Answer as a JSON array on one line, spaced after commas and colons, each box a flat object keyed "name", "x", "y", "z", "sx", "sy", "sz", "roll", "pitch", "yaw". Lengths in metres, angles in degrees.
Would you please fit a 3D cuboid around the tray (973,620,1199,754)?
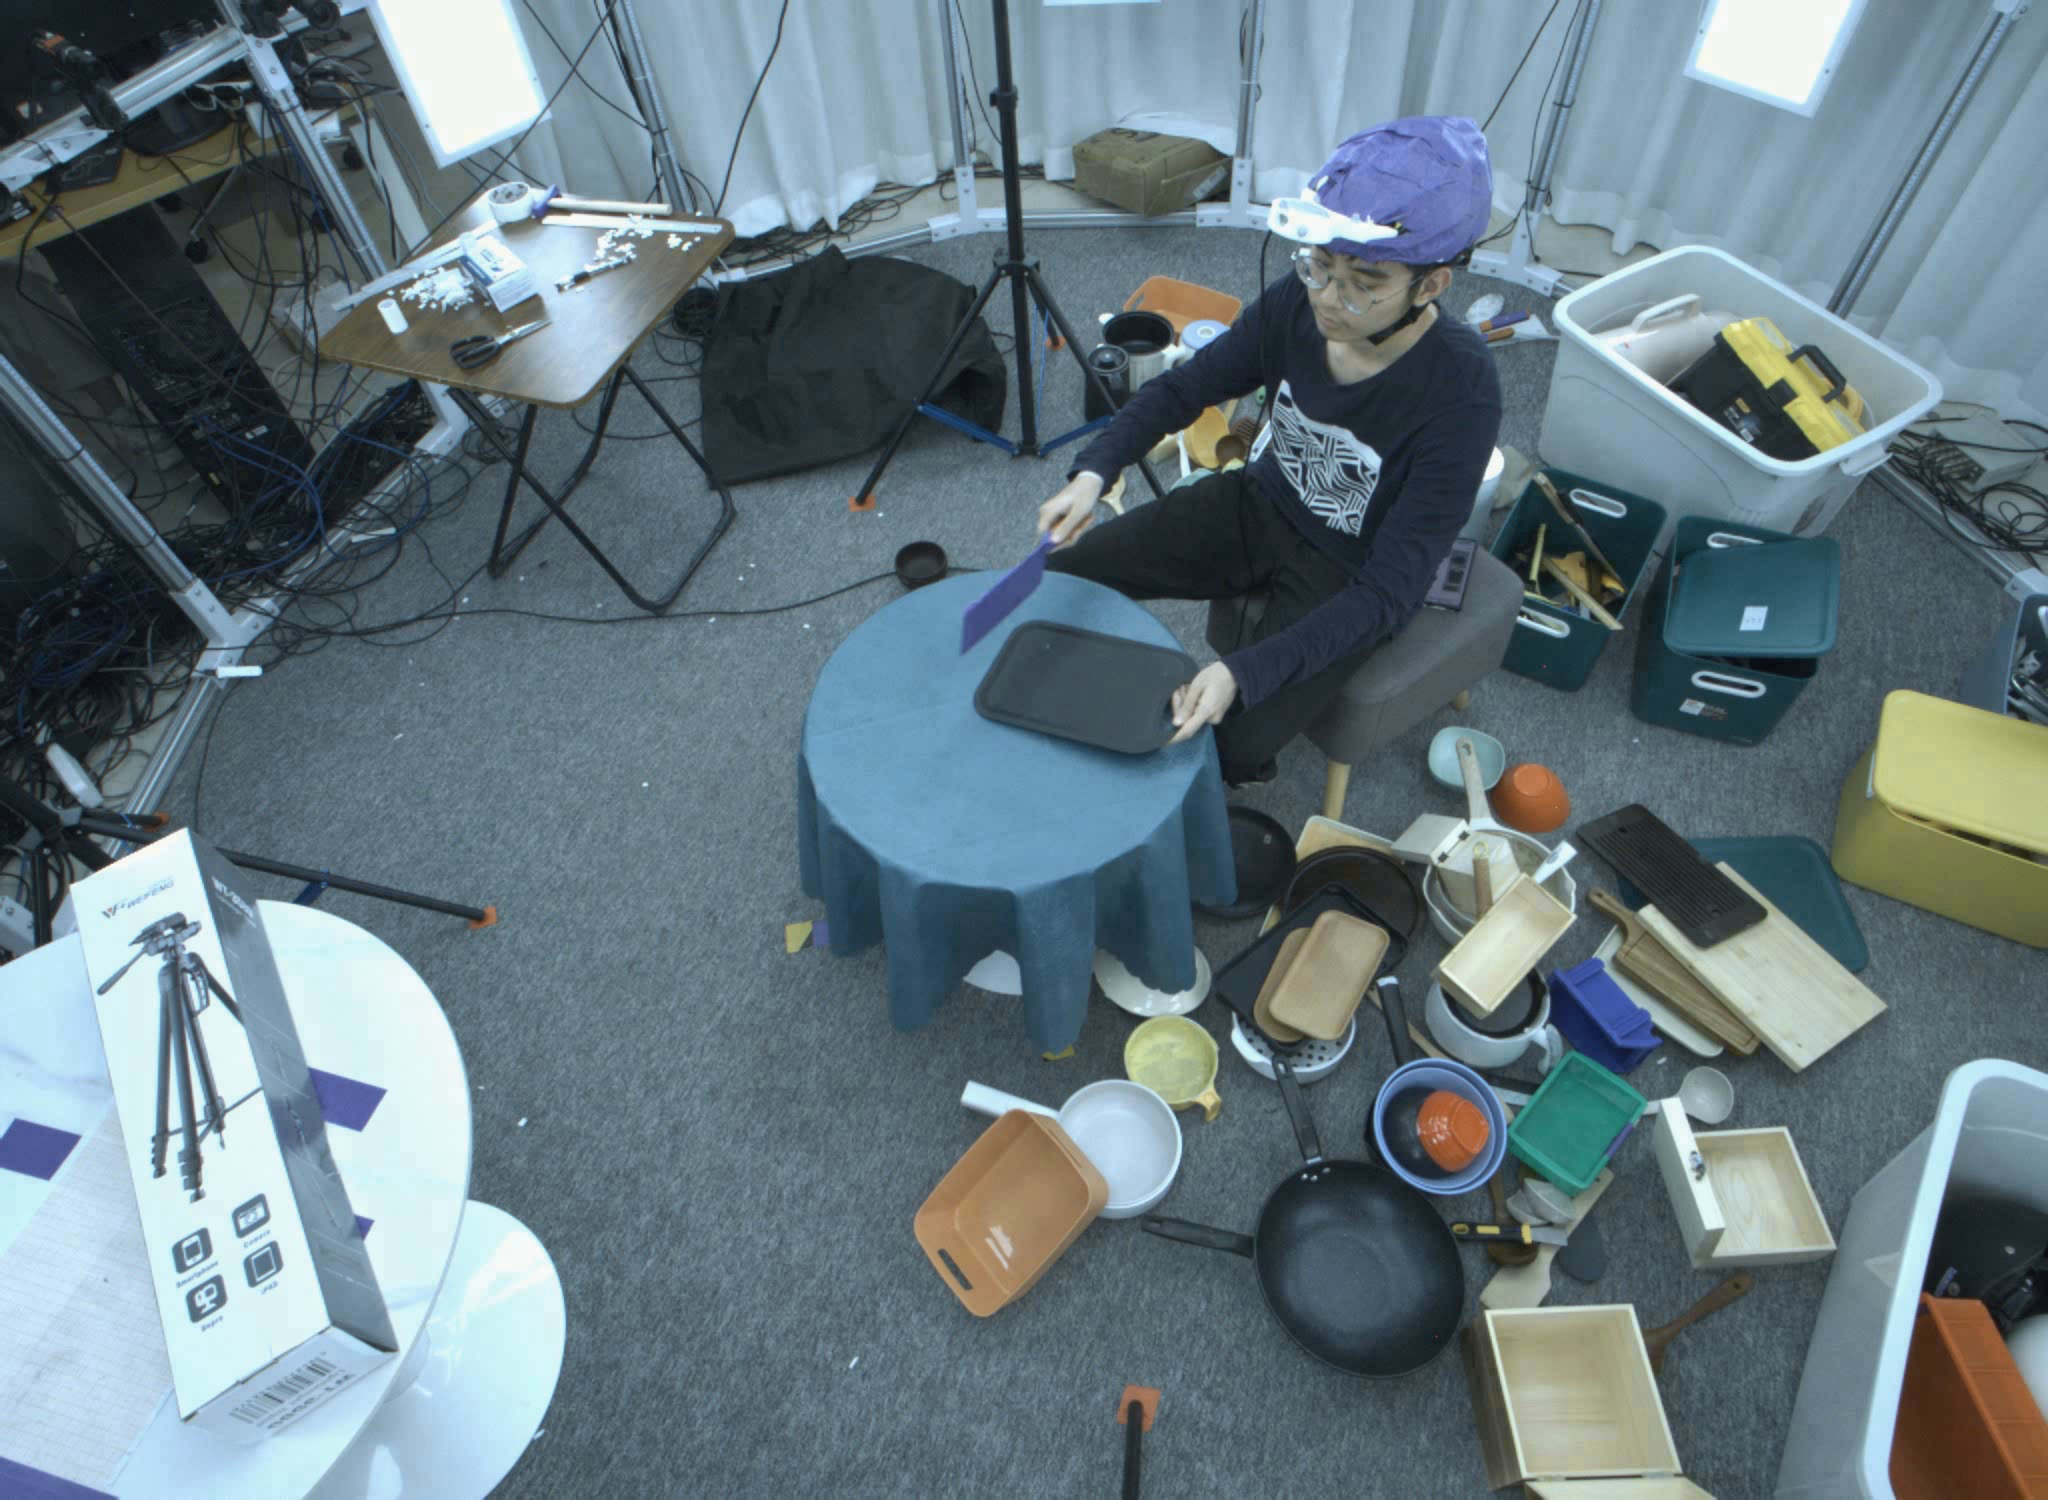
[{"name": "tray", "x": 0.098, "y": -0.098, "z": 1.839, "sx": 0.321, "sy": 0.010, "sz": 0.211, "roll": 16, "pitch": 56, "yaw": 19}]

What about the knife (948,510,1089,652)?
[{"name": "knife", "x": -0.012, "y": -0.255, "z": 1.829, "sx": 0.032, "sy": 0.104, "sz": 0.318, "roll": 36, "pitch": 54, "yaw": 16}]
